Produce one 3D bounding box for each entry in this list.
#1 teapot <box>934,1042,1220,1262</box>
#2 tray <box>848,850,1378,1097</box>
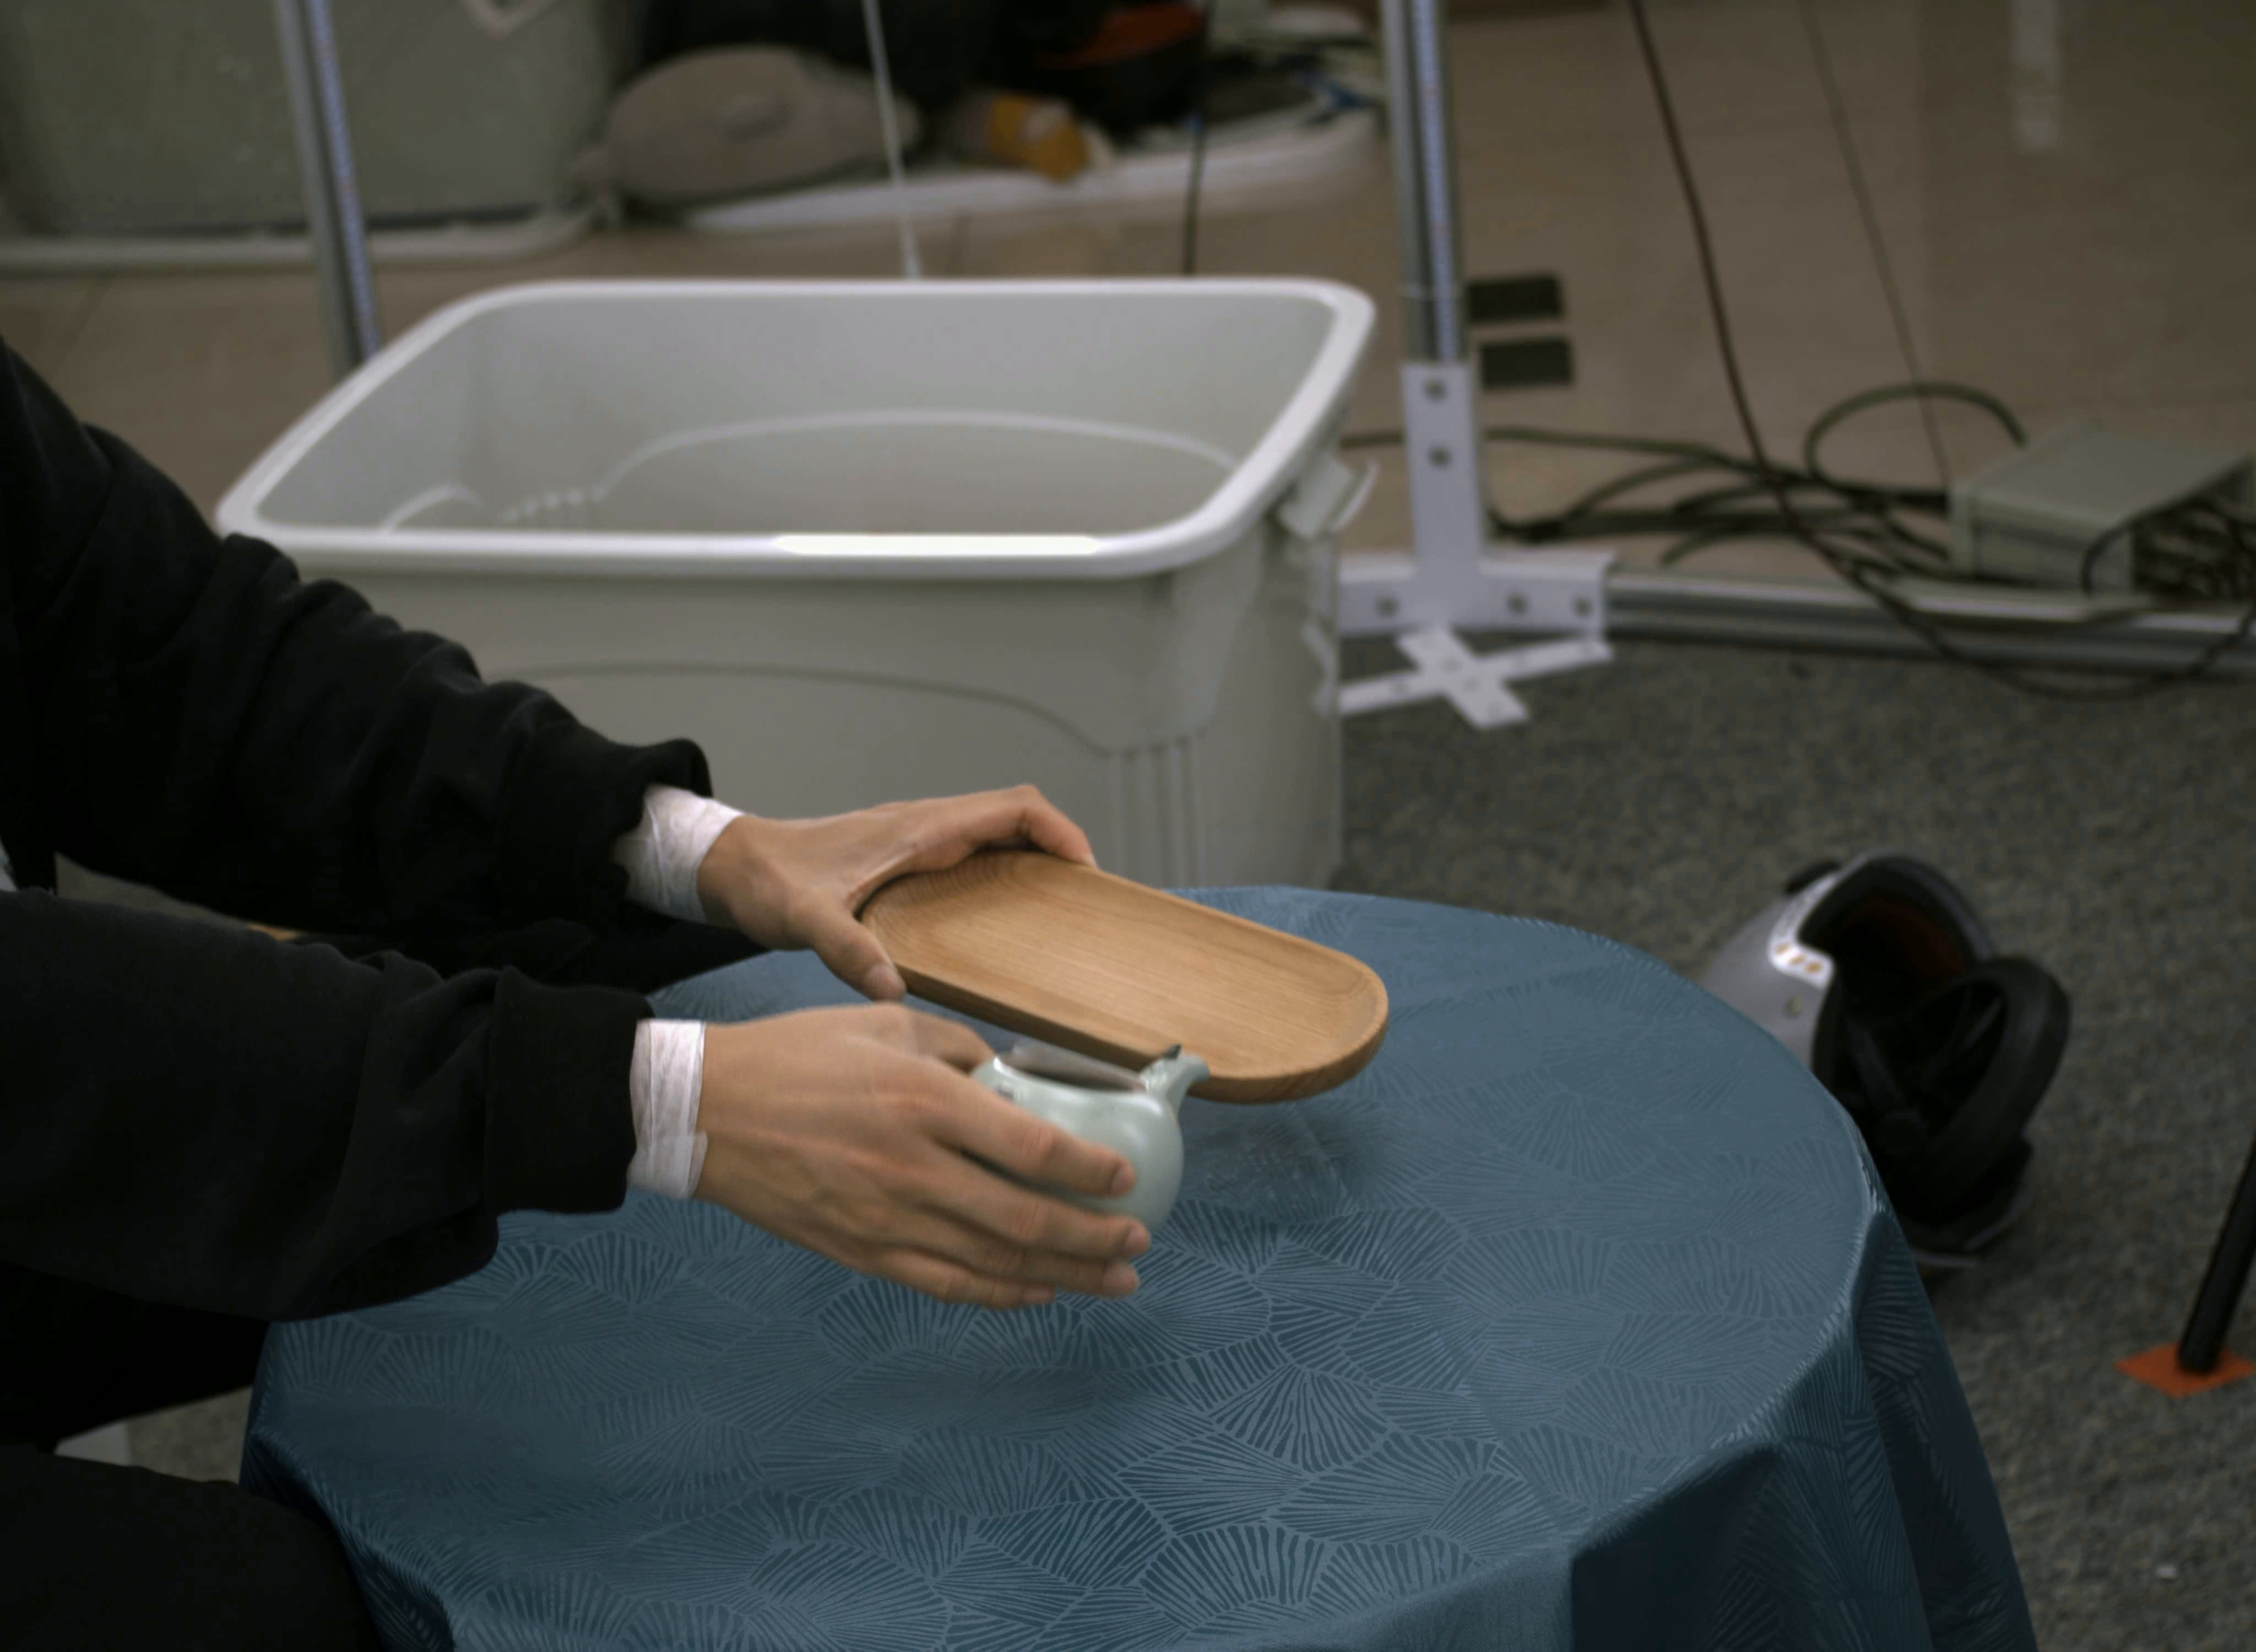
[{"bbox_3d":[-0.020,0.114,2.006,0.088,0.075,0.144,17,10,40],"label":"teapot"},{"bbox_3d":[-0.007,0.056,2.178,0.229,0.020,0.100,16,34,35],"label":"tray"}]
